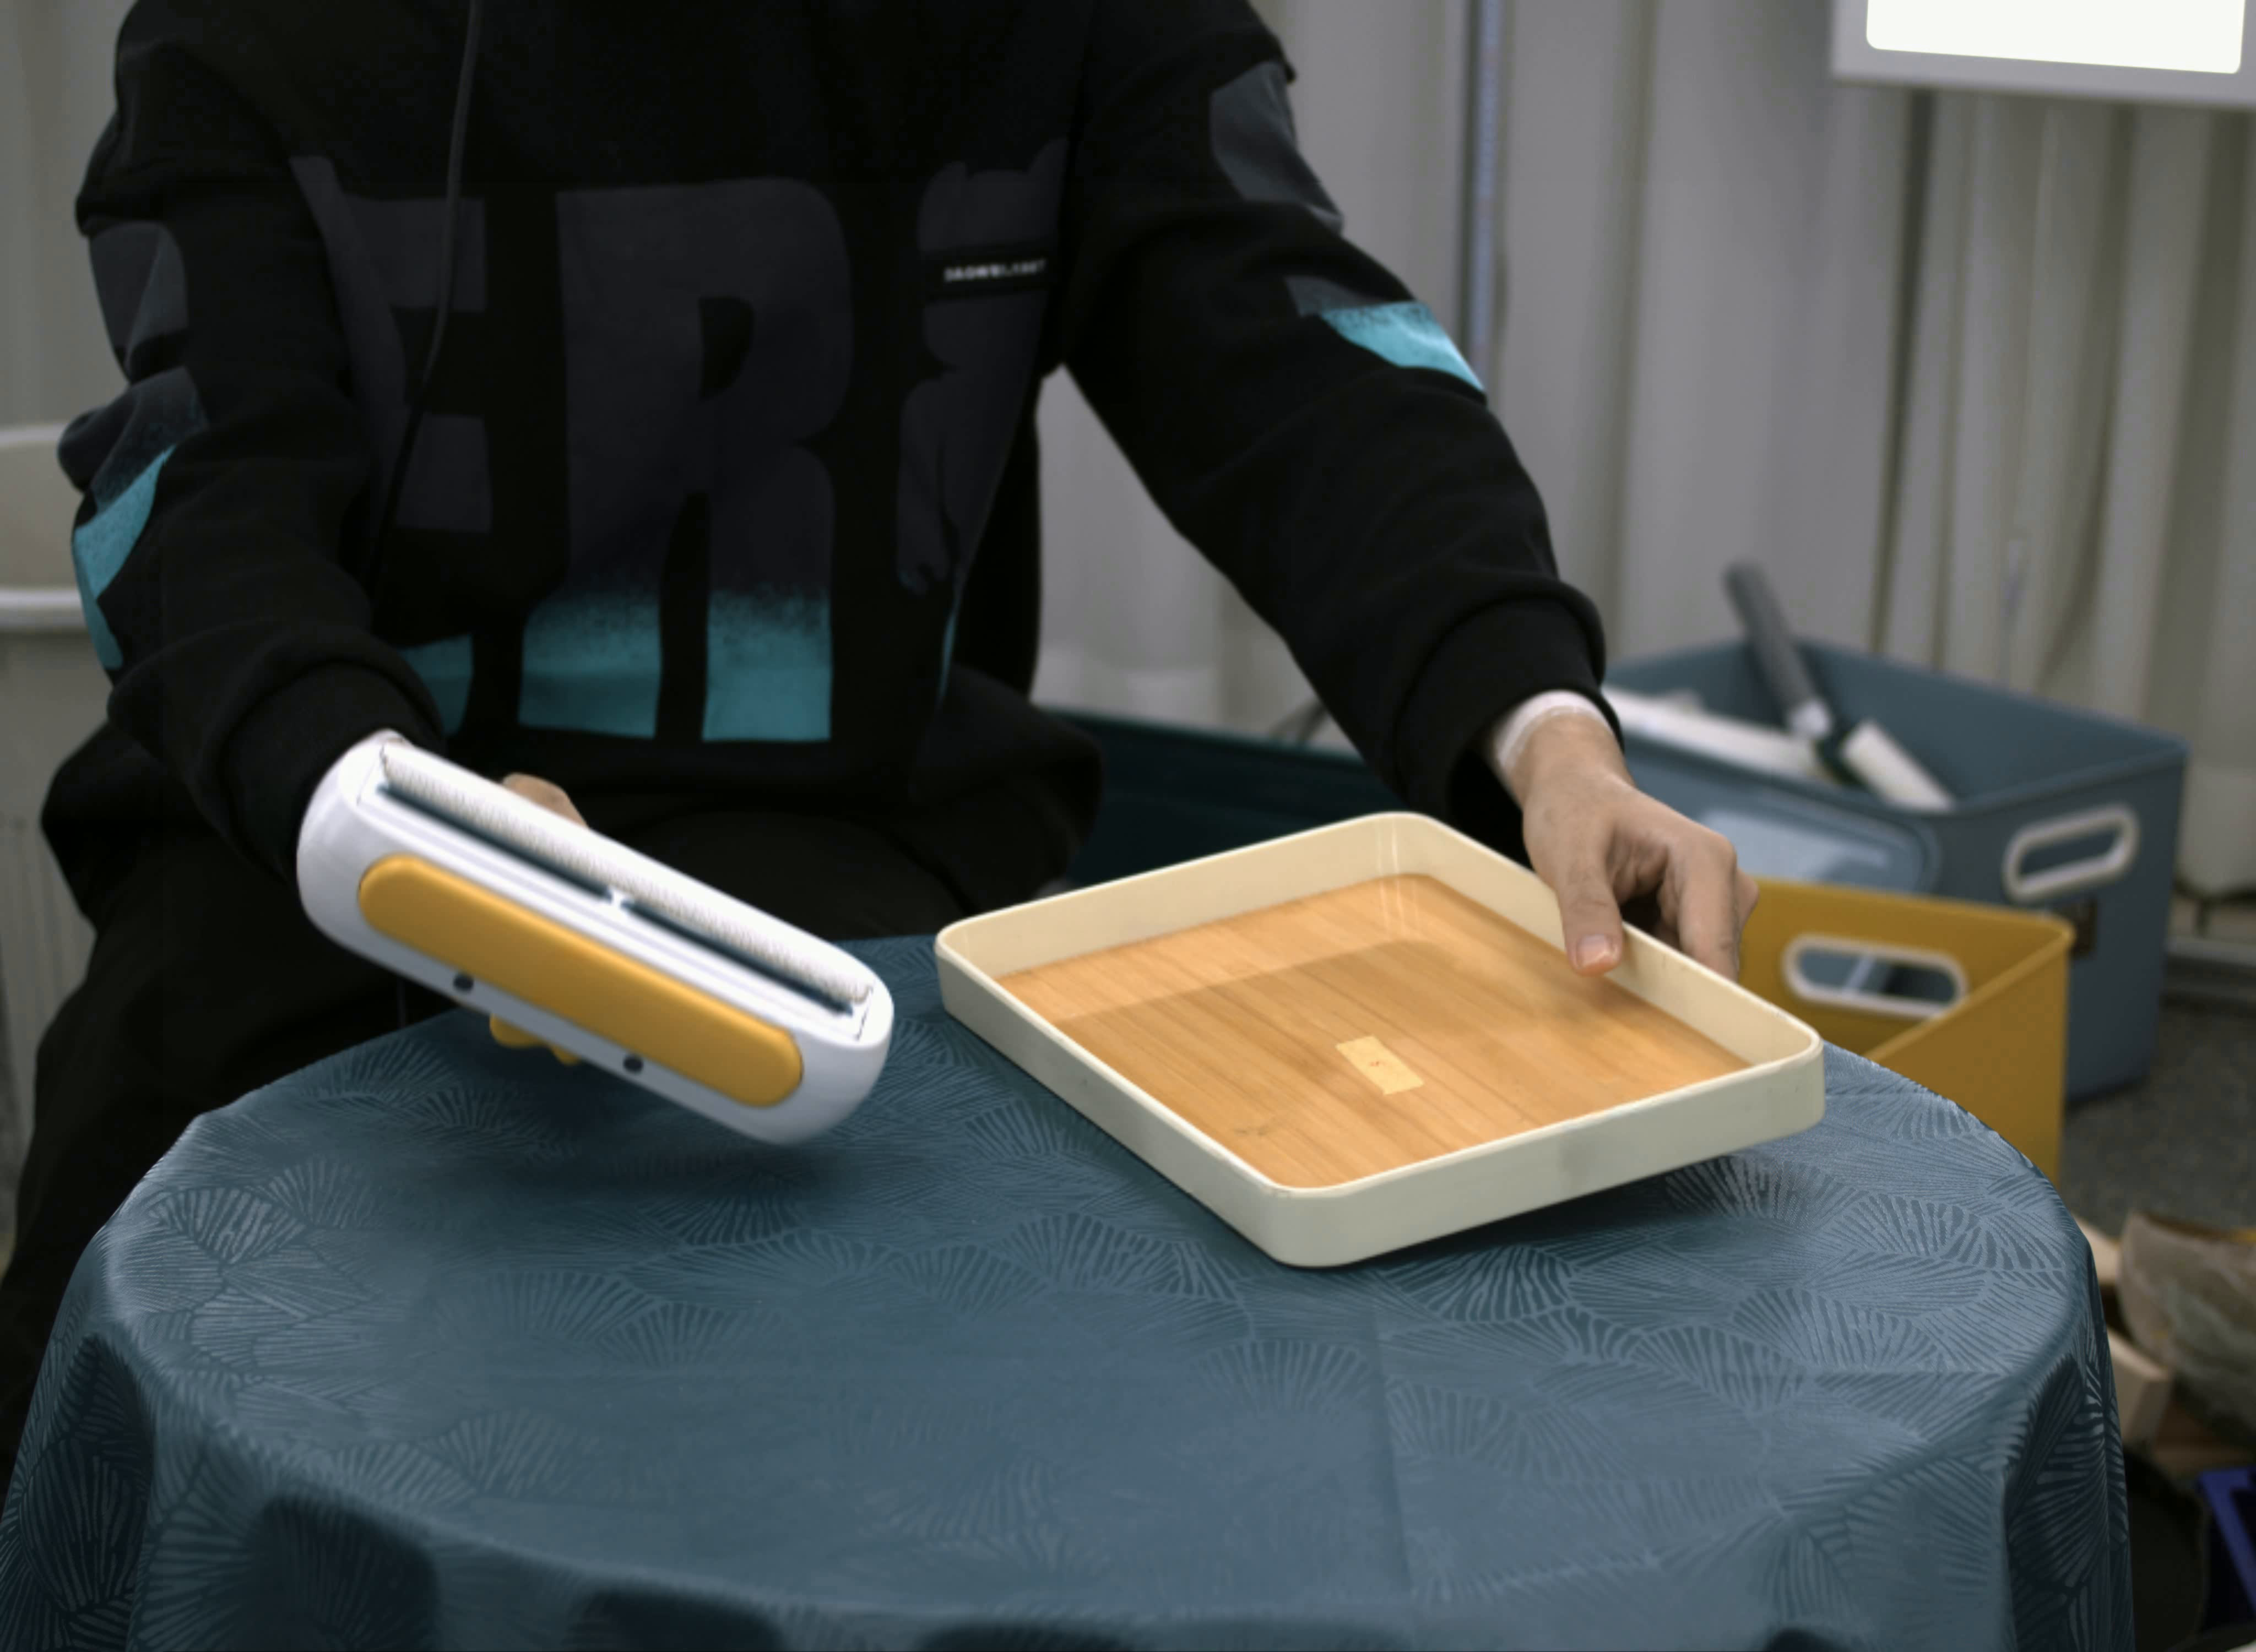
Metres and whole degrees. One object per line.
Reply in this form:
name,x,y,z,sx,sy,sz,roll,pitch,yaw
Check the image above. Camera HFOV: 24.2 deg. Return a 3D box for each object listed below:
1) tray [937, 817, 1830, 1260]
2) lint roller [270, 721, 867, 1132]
tray,0.076,0.063,1.703,0.192,0.027,0.297,-13,20,-21
lint roller,-0.171,0.022,1.670,0.193,0.074,0.191,23,15,-4
